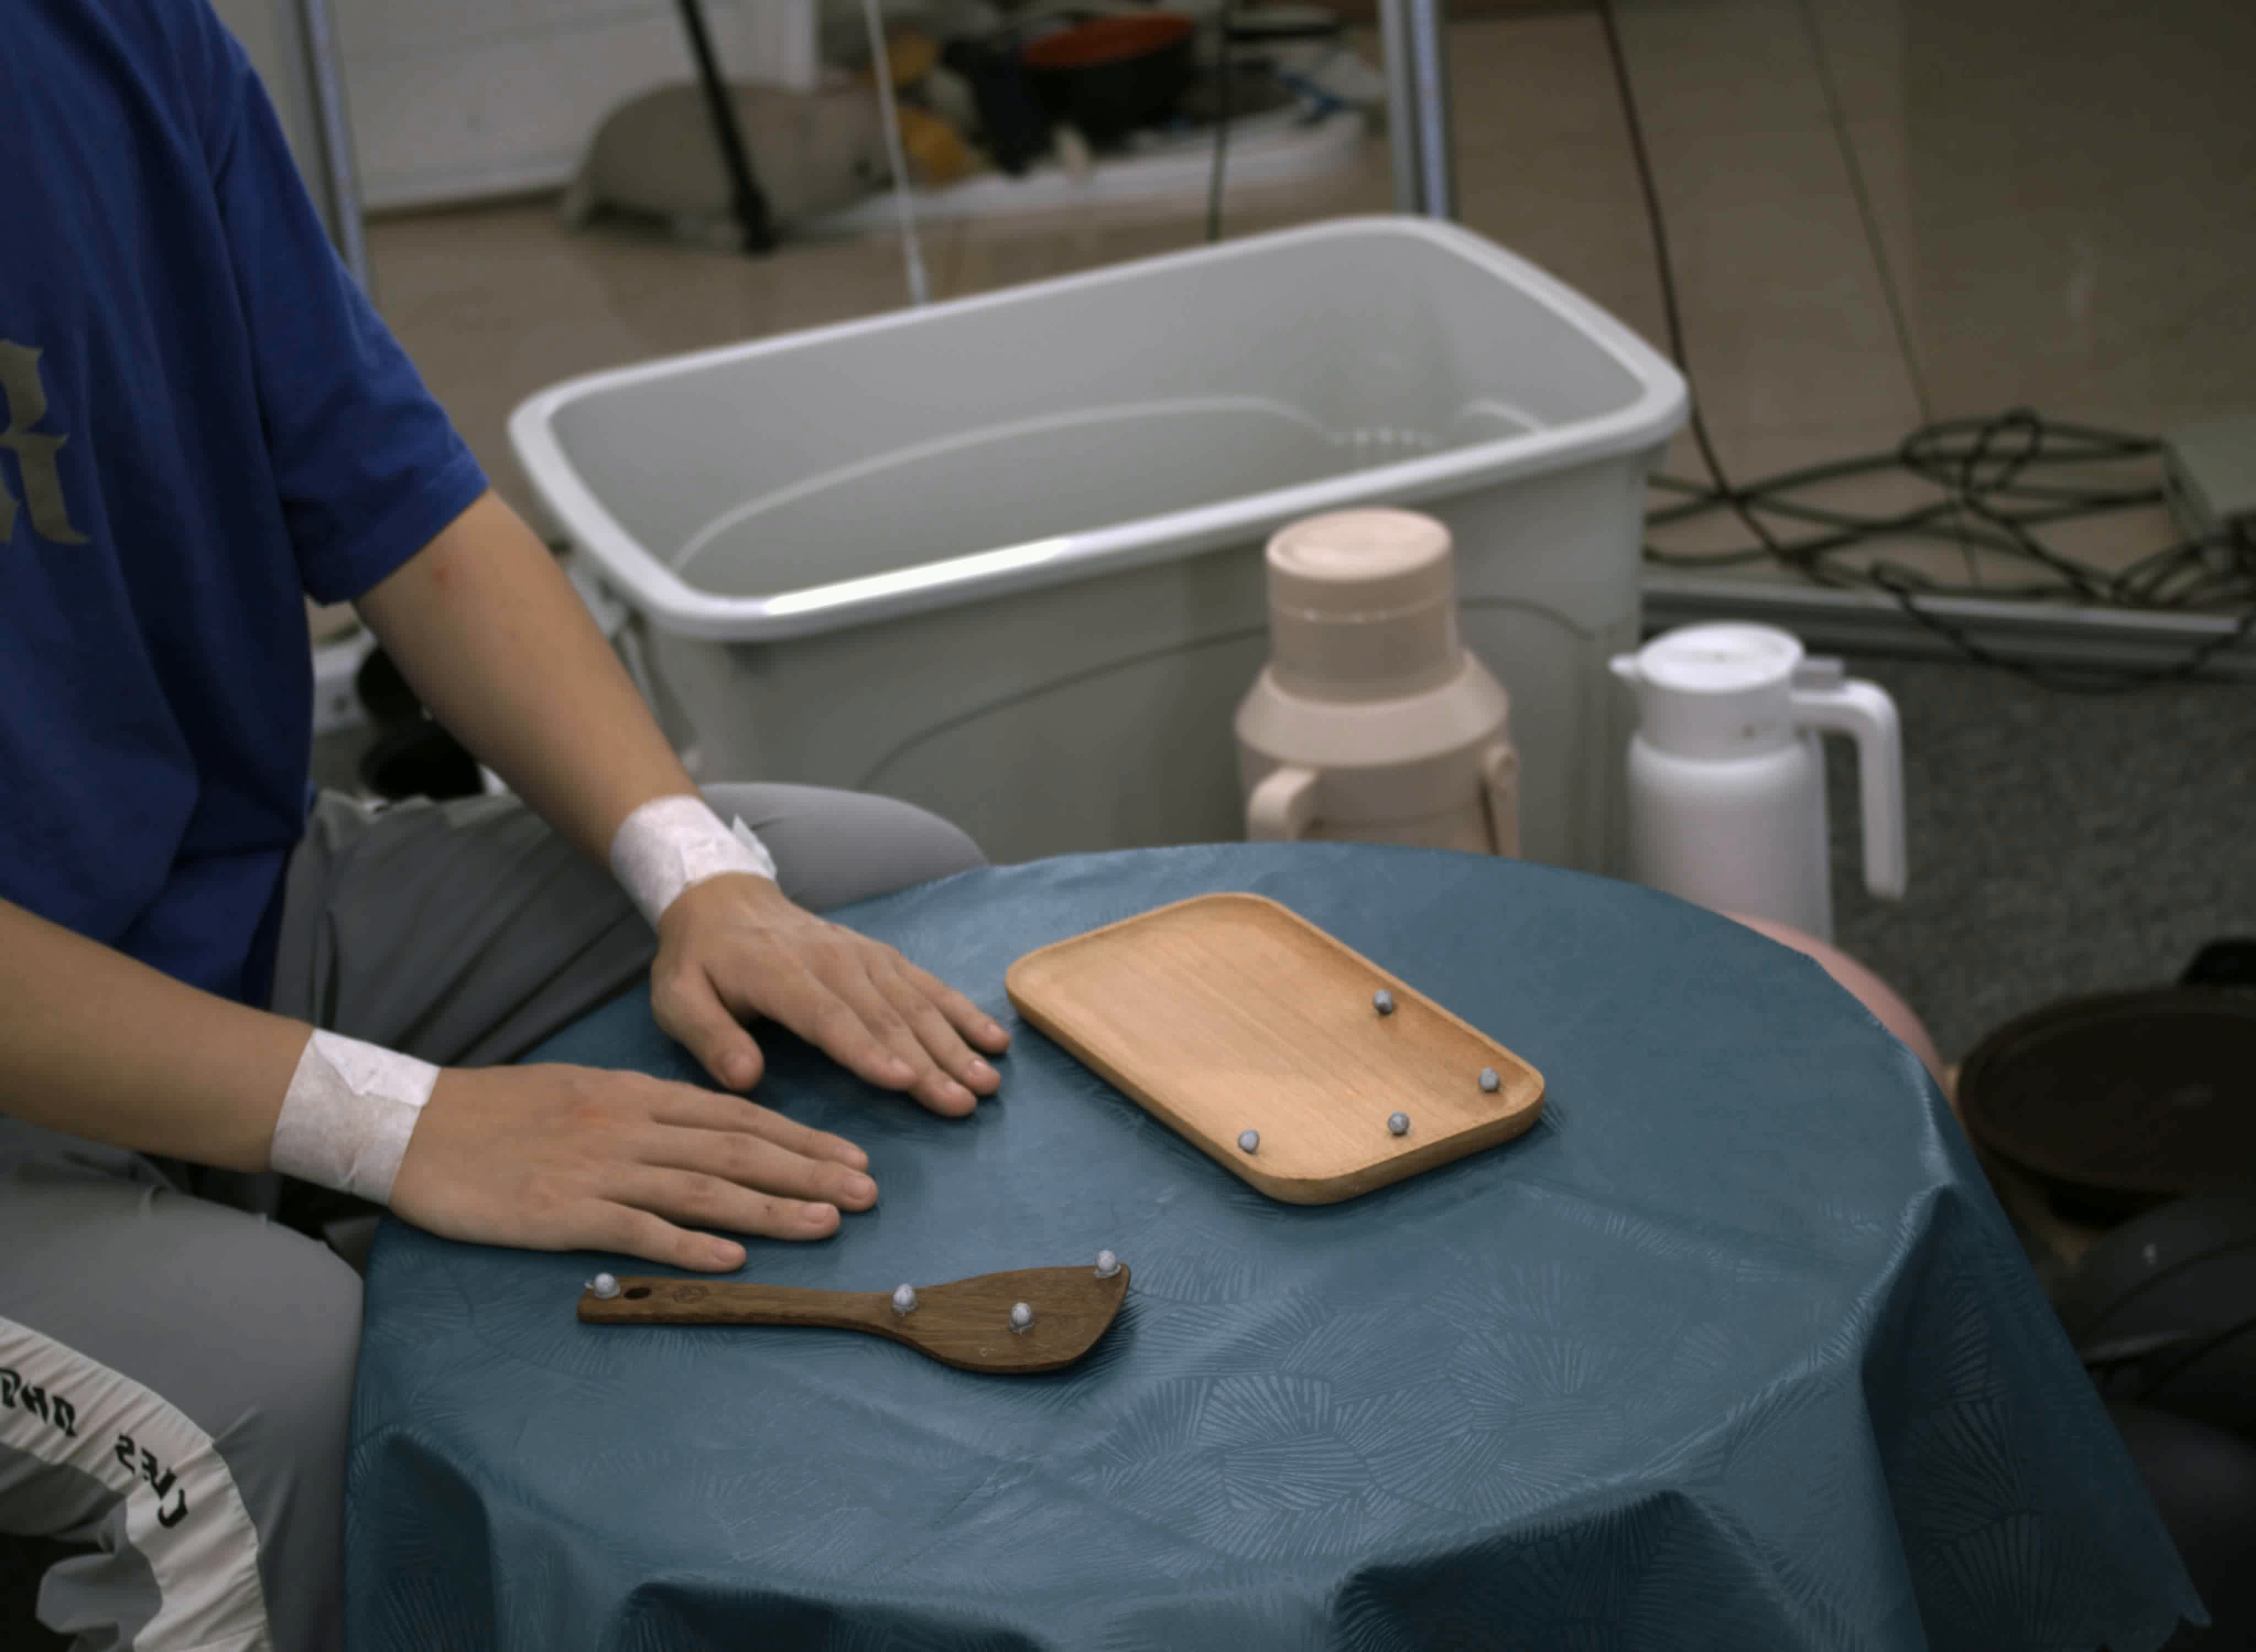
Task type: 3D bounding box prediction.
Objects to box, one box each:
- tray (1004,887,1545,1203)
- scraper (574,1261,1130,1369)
[{"bbox_3d":[0.055,0.084,2.231,0.130,0.023,0.248,-15,25,-24],"label":"tray"},{"bbox_3d":[-0.104,0.177,2.081,0.211,0.011,0.075,1,25,18],"label":"scraper"}]
